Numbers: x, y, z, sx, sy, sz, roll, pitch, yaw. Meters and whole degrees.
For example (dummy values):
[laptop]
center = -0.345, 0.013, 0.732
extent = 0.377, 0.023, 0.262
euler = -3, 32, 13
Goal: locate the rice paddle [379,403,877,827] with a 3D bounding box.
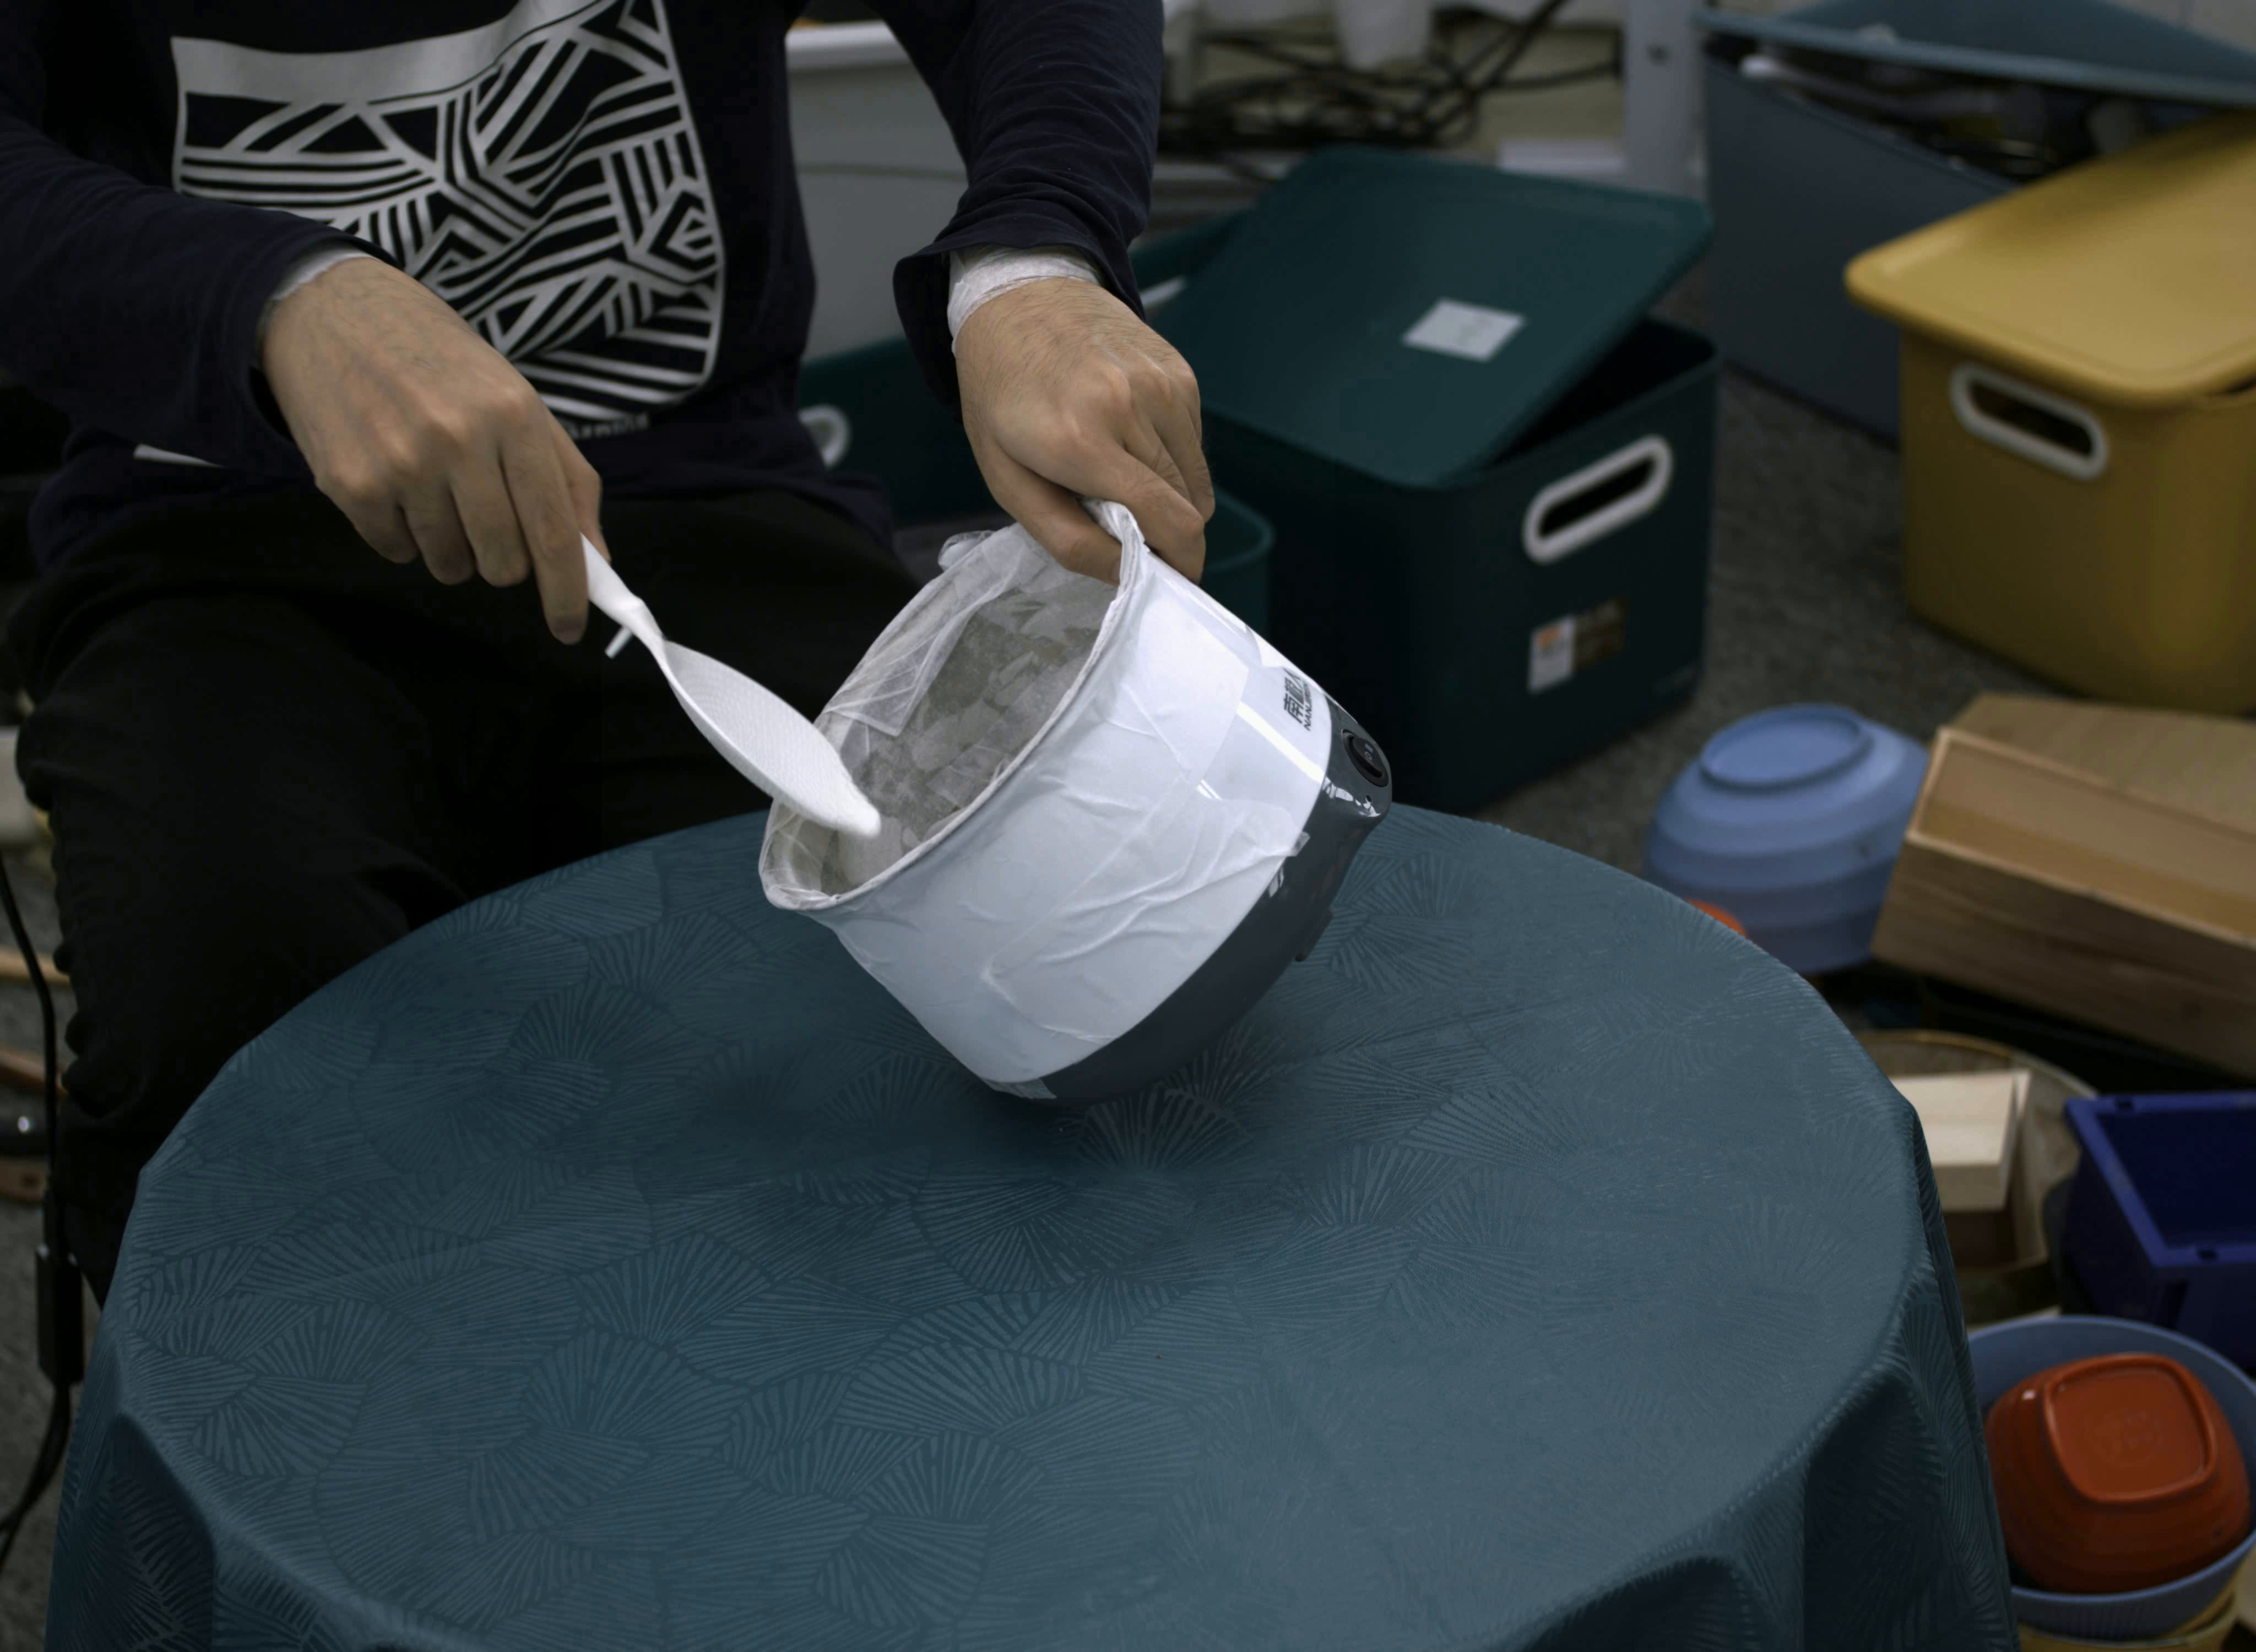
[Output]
[rice paddle]
center = -0.163, -0.067, 1.896
extent = 0.205, 0.029, 0.069
euler = 39, 17, -1

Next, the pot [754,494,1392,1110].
[pot]
center = -0.019, -0.018, 1.921
extent = 0.177, 0.136, 0.237
euler = -37, 26, 19
